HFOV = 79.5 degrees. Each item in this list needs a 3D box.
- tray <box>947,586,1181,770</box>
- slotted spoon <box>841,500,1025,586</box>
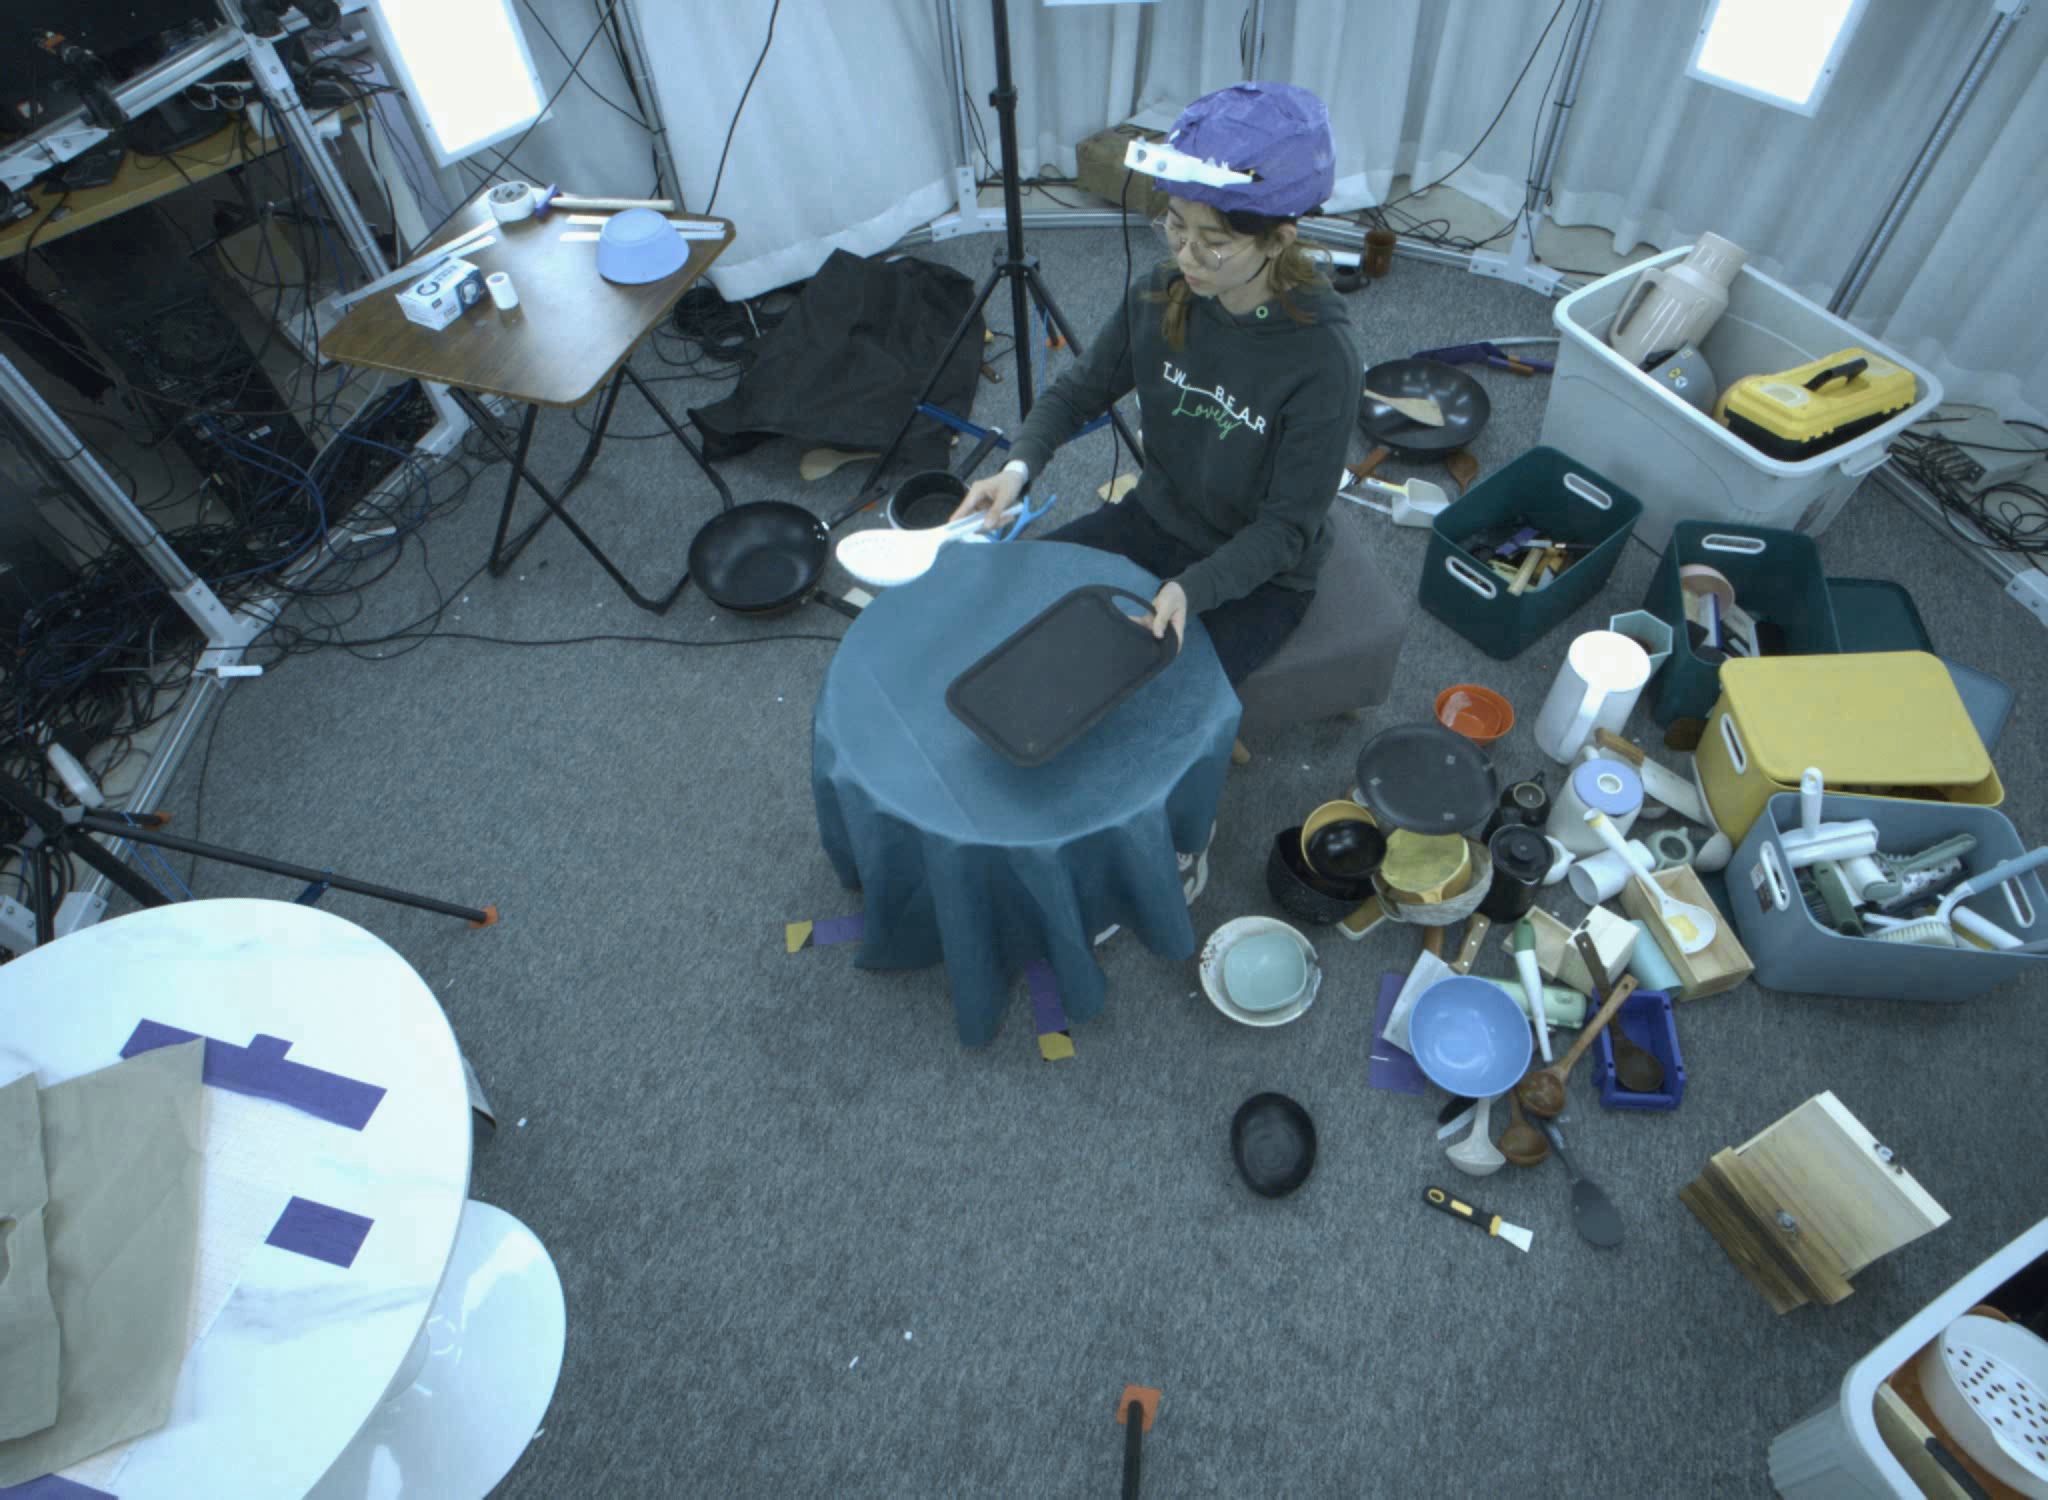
[{"bbox_3d":[0.061,-0.113,1.726,0.327,0.010,0.207,-38,58,-17],"label":"tray"},{"bbox_3d":[-0.122,-0.313,1.792,0.133,0.046,0.353,35,48,24],"label":"slotted spoon"}]
